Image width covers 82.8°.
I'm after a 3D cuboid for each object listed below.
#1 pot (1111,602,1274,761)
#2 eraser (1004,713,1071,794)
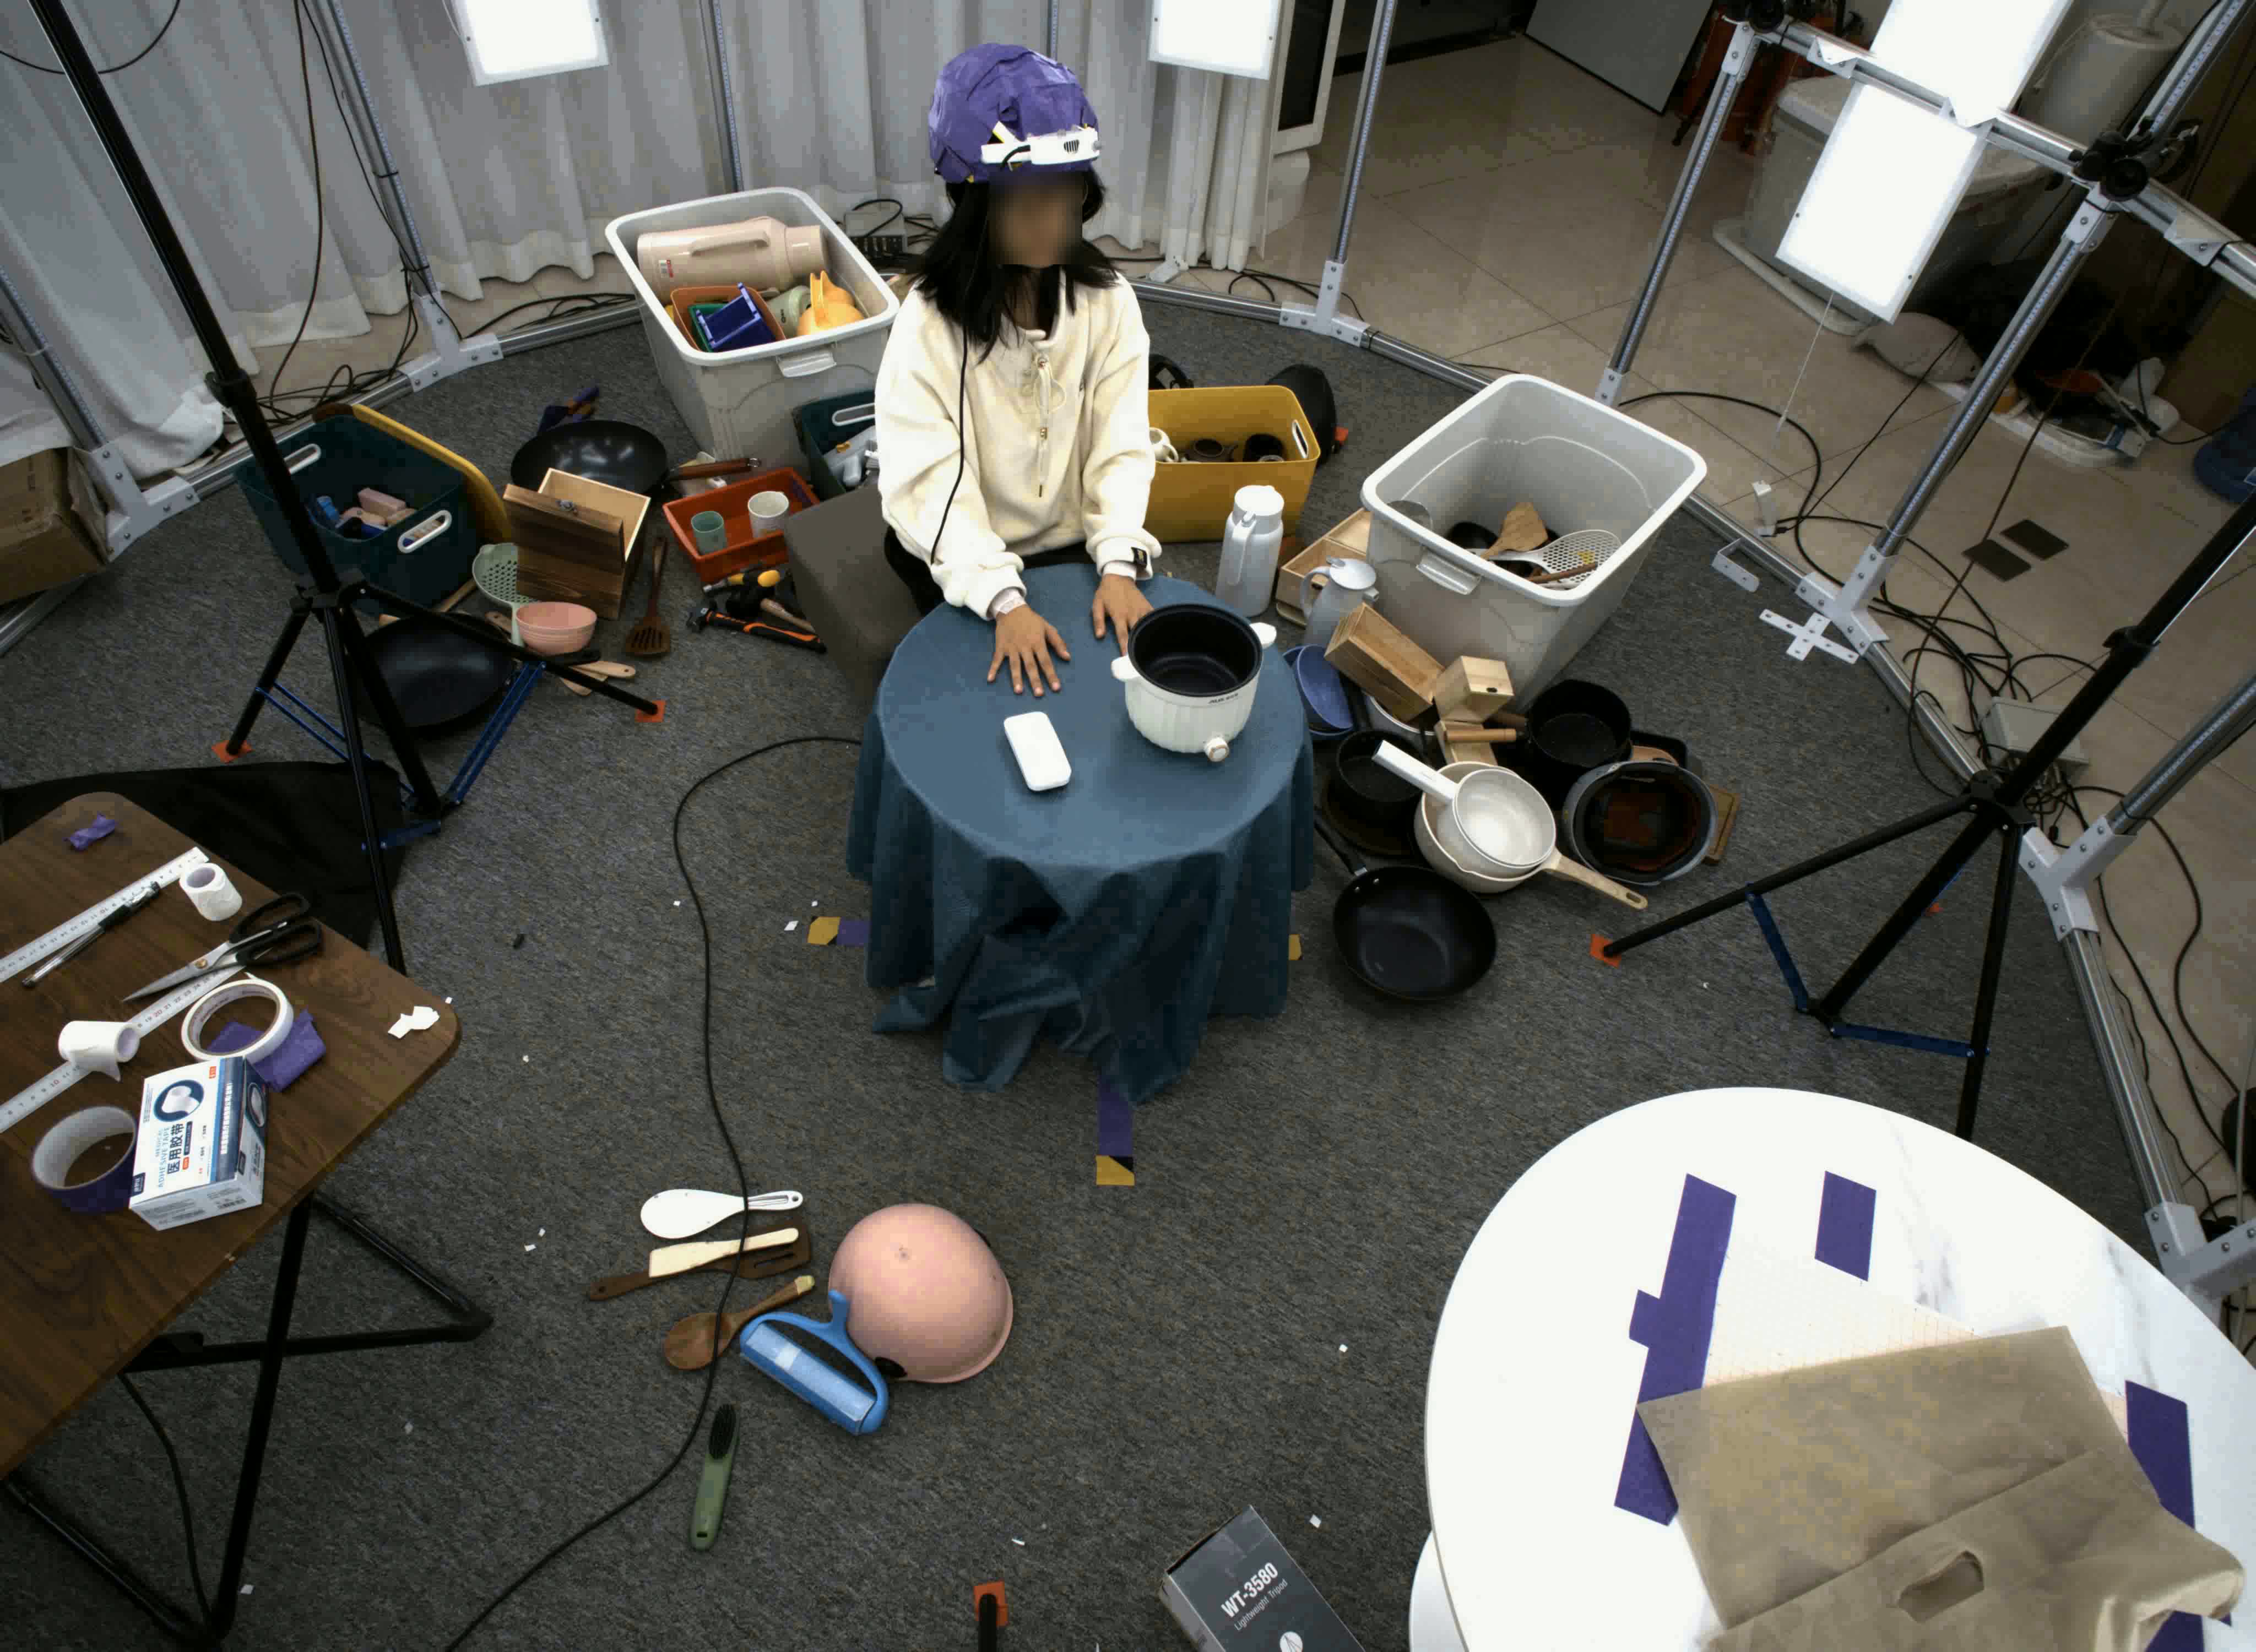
[{"bbox_3d":[0.088,-0.192,1.752,0.241,0.139,0.195,-18,50,-17],"label":"pot"},{"bbox_3d":[-0.122,-0.101,1.730,0.063,0.034,0.134,-12,51,-17],"label":"eraser"}]
